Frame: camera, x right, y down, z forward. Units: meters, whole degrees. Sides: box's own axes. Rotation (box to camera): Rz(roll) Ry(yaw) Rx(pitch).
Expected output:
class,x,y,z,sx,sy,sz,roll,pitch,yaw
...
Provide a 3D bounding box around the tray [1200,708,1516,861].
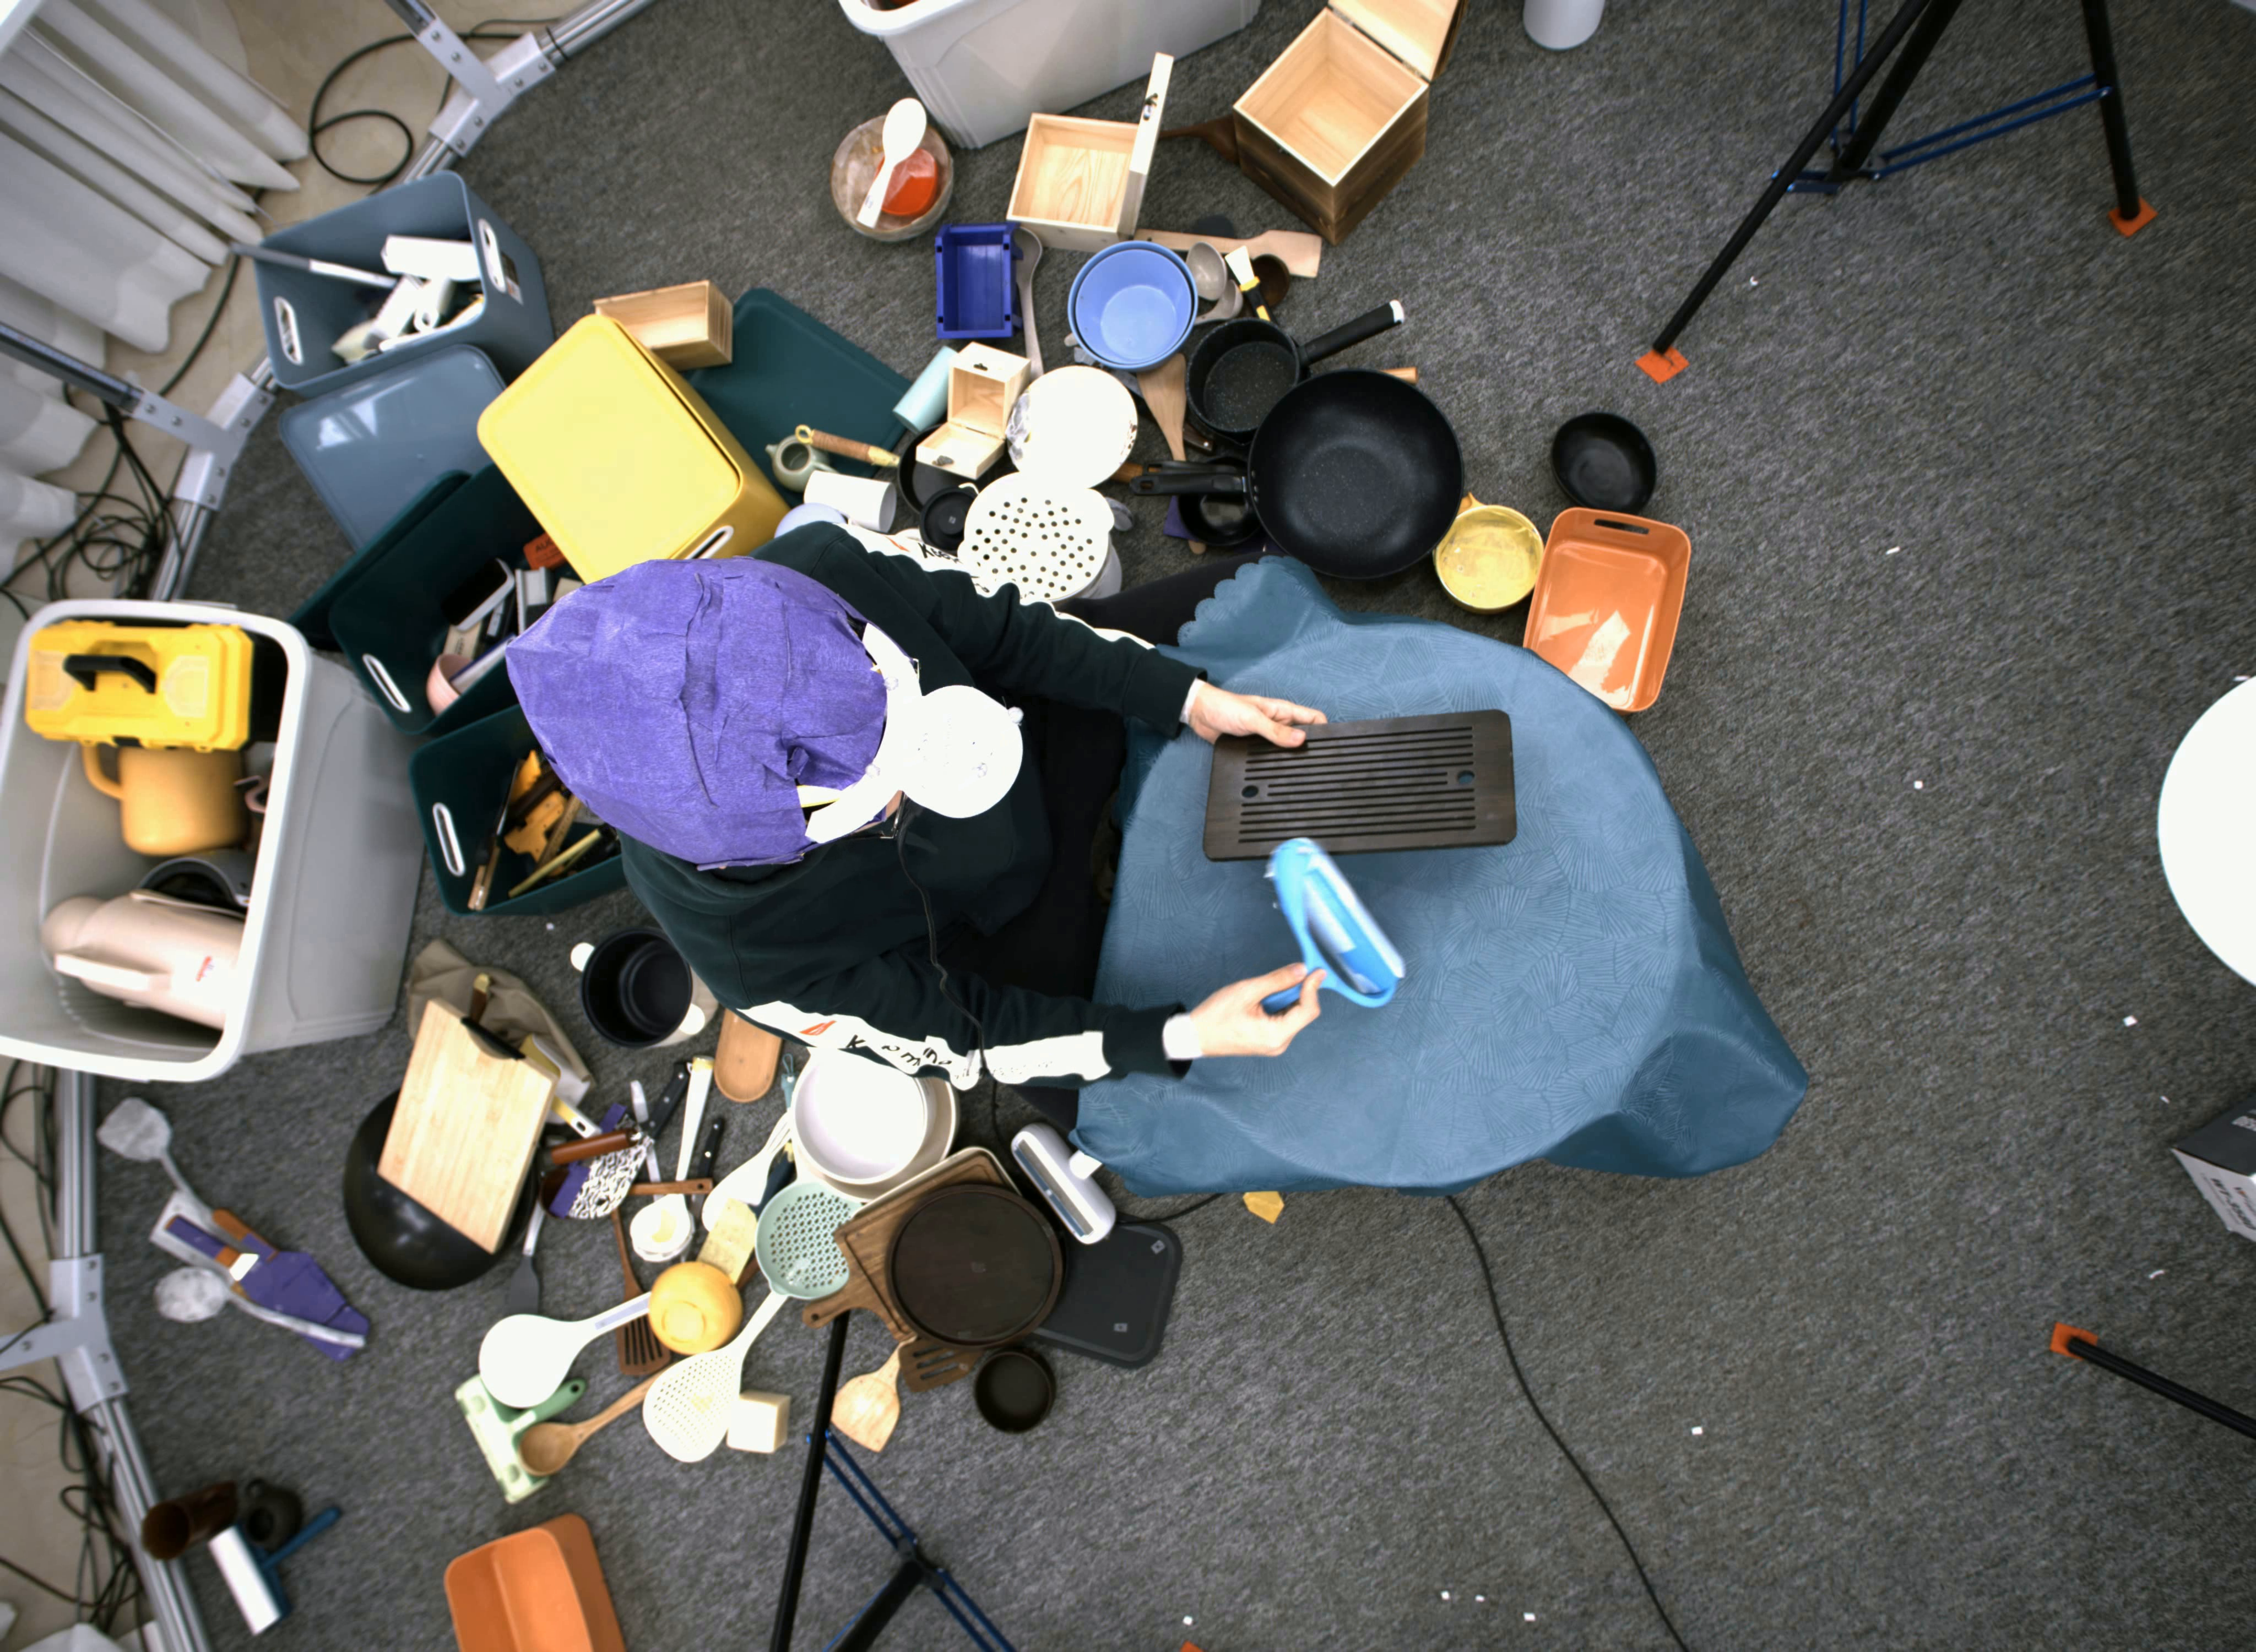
class,x,y,z,sx,sy,sz,roll,pitch,yaw
tray,0.228,-0.040,1.376,0.308,0.019,0.166,-4,54,17

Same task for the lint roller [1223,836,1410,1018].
class,x,y,z,sx,sy,sz,roll,pitch,yaw
lint roller,0.175,0.132,1.356,0.180,0.232,0.067,-46,39,-3
